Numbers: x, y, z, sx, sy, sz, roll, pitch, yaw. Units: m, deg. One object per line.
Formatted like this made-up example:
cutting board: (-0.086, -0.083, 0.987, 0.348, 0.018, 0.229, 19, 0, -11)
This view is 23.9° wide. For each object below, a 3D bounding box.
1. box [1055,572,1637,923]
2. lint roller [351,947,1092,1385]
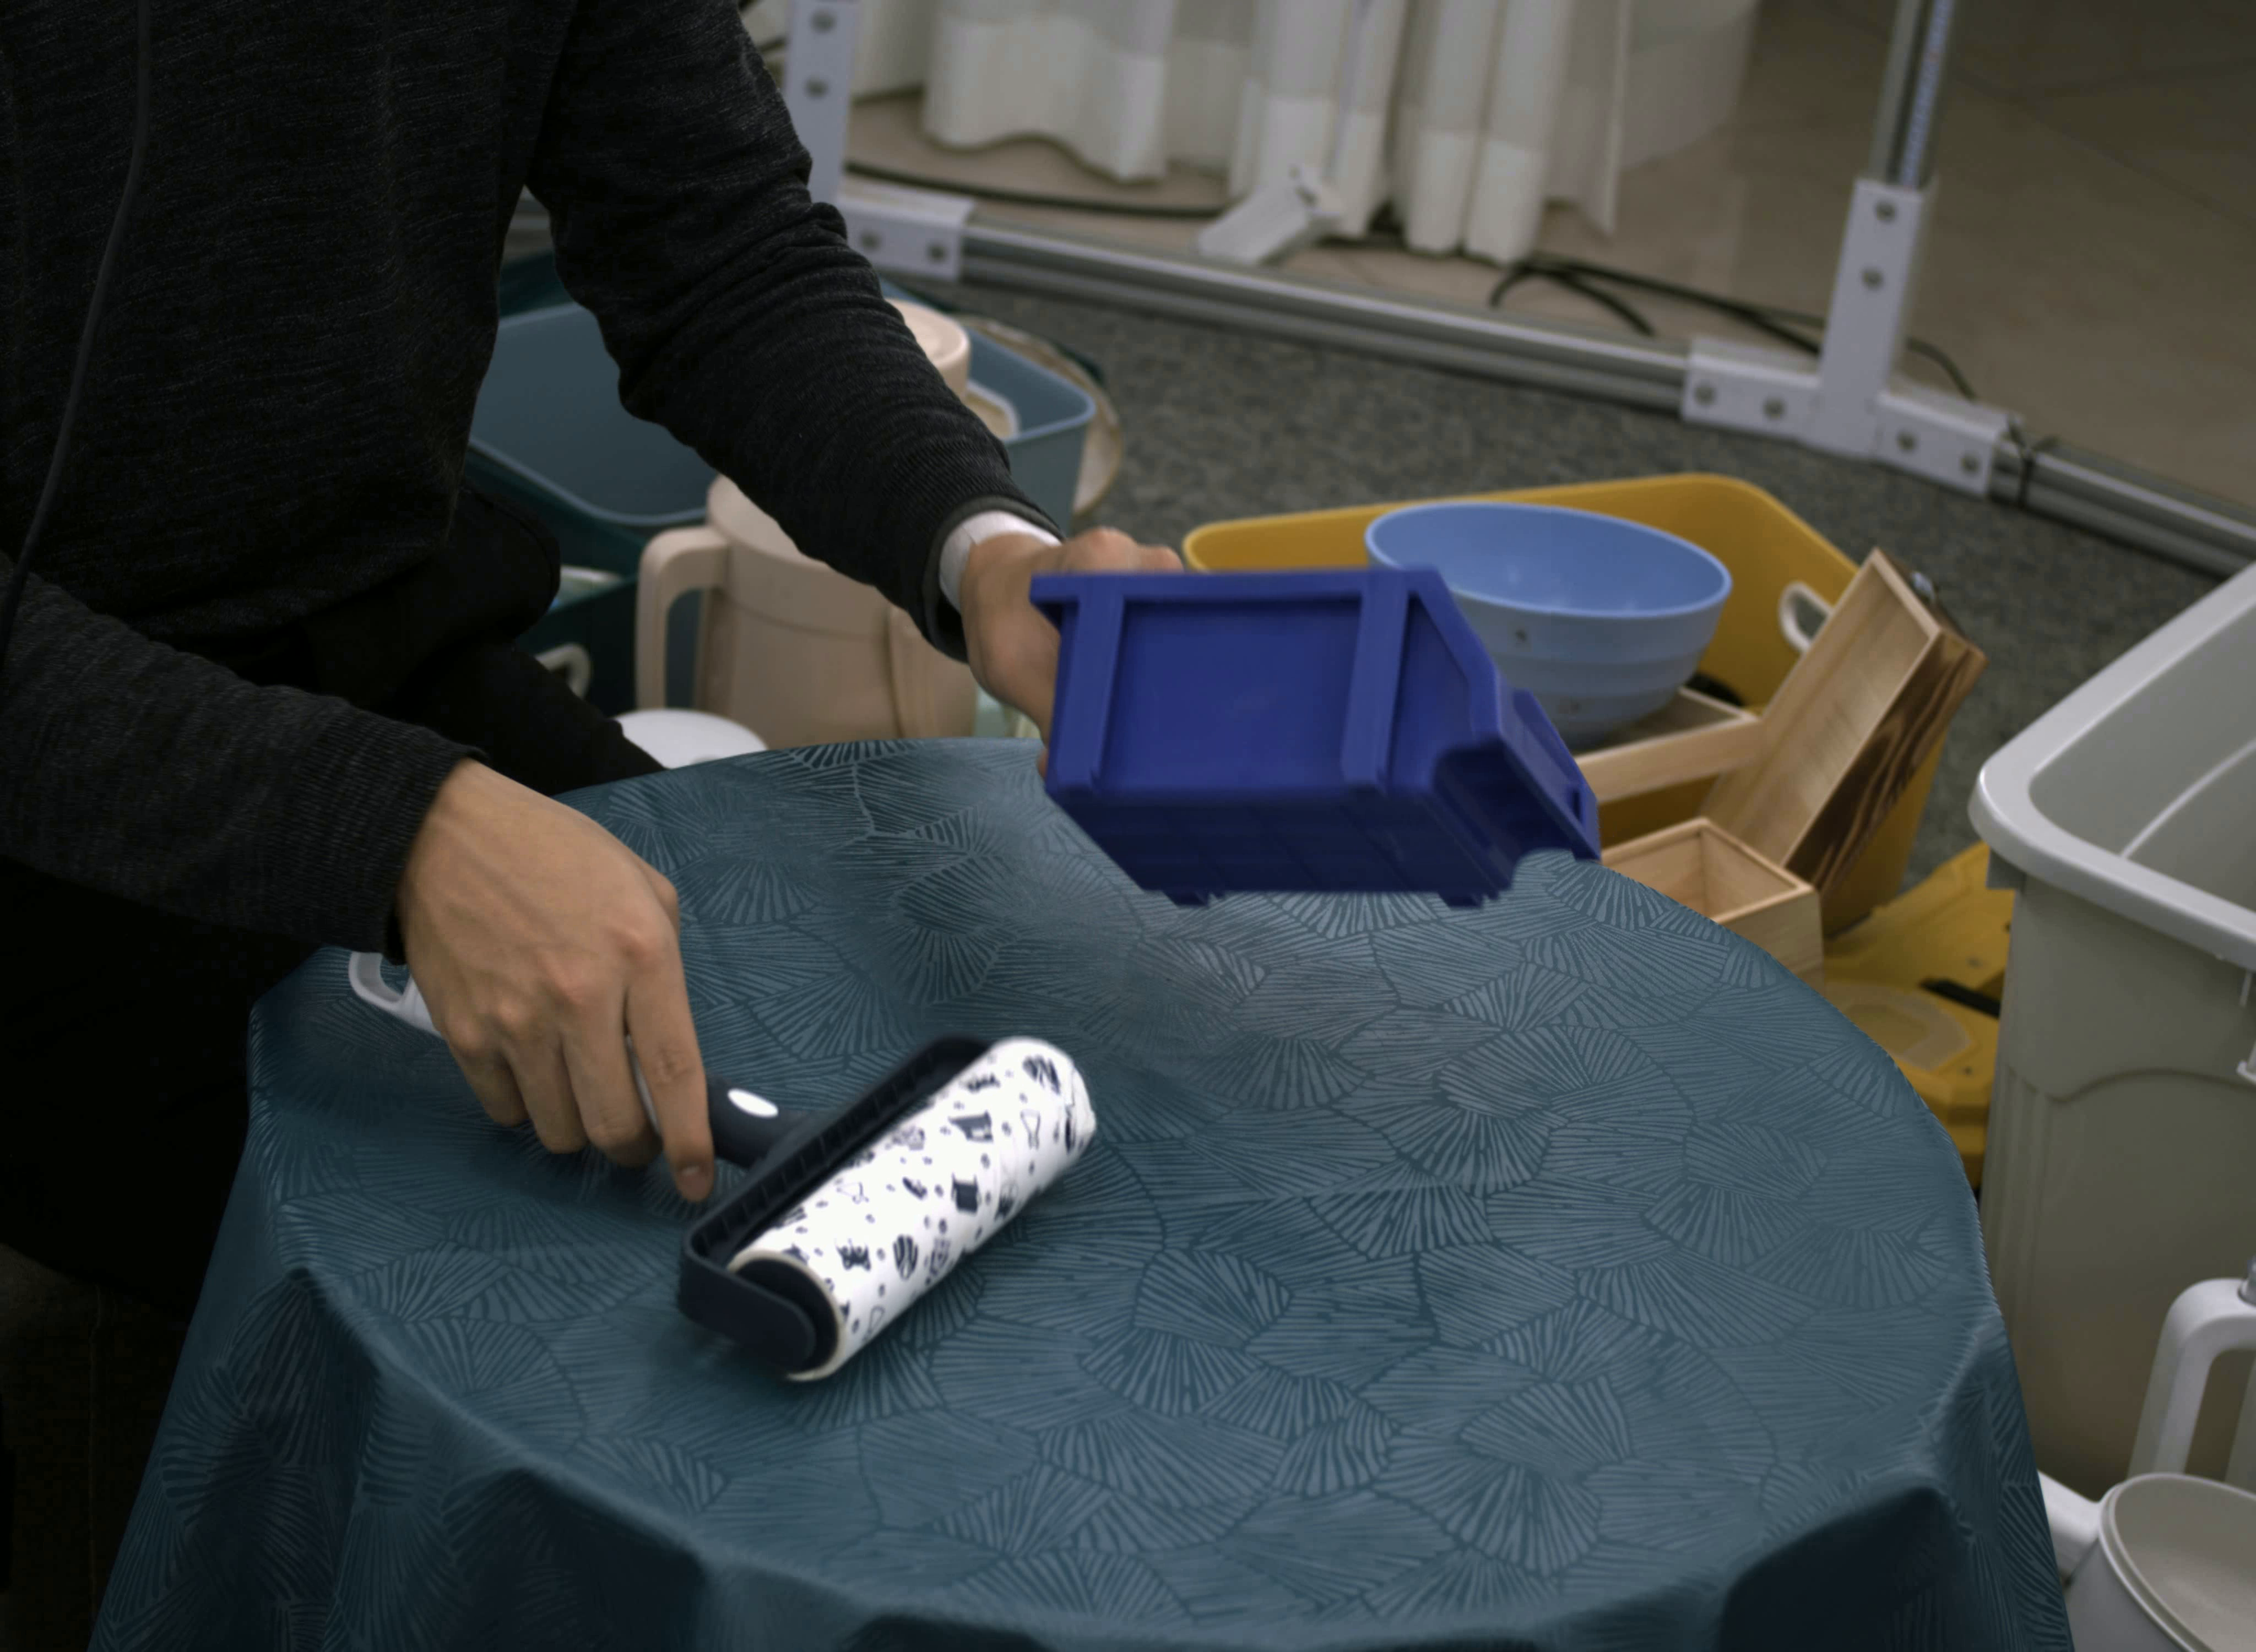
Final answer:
box: (0.076, -0.025, 1.851, 0.180, 0.082, 0.123, -3, -22, 24)
lint roller: (-0.156, 0.089, 1.765, 0.248, 0.050, 0.176, 23, 33, 22)
